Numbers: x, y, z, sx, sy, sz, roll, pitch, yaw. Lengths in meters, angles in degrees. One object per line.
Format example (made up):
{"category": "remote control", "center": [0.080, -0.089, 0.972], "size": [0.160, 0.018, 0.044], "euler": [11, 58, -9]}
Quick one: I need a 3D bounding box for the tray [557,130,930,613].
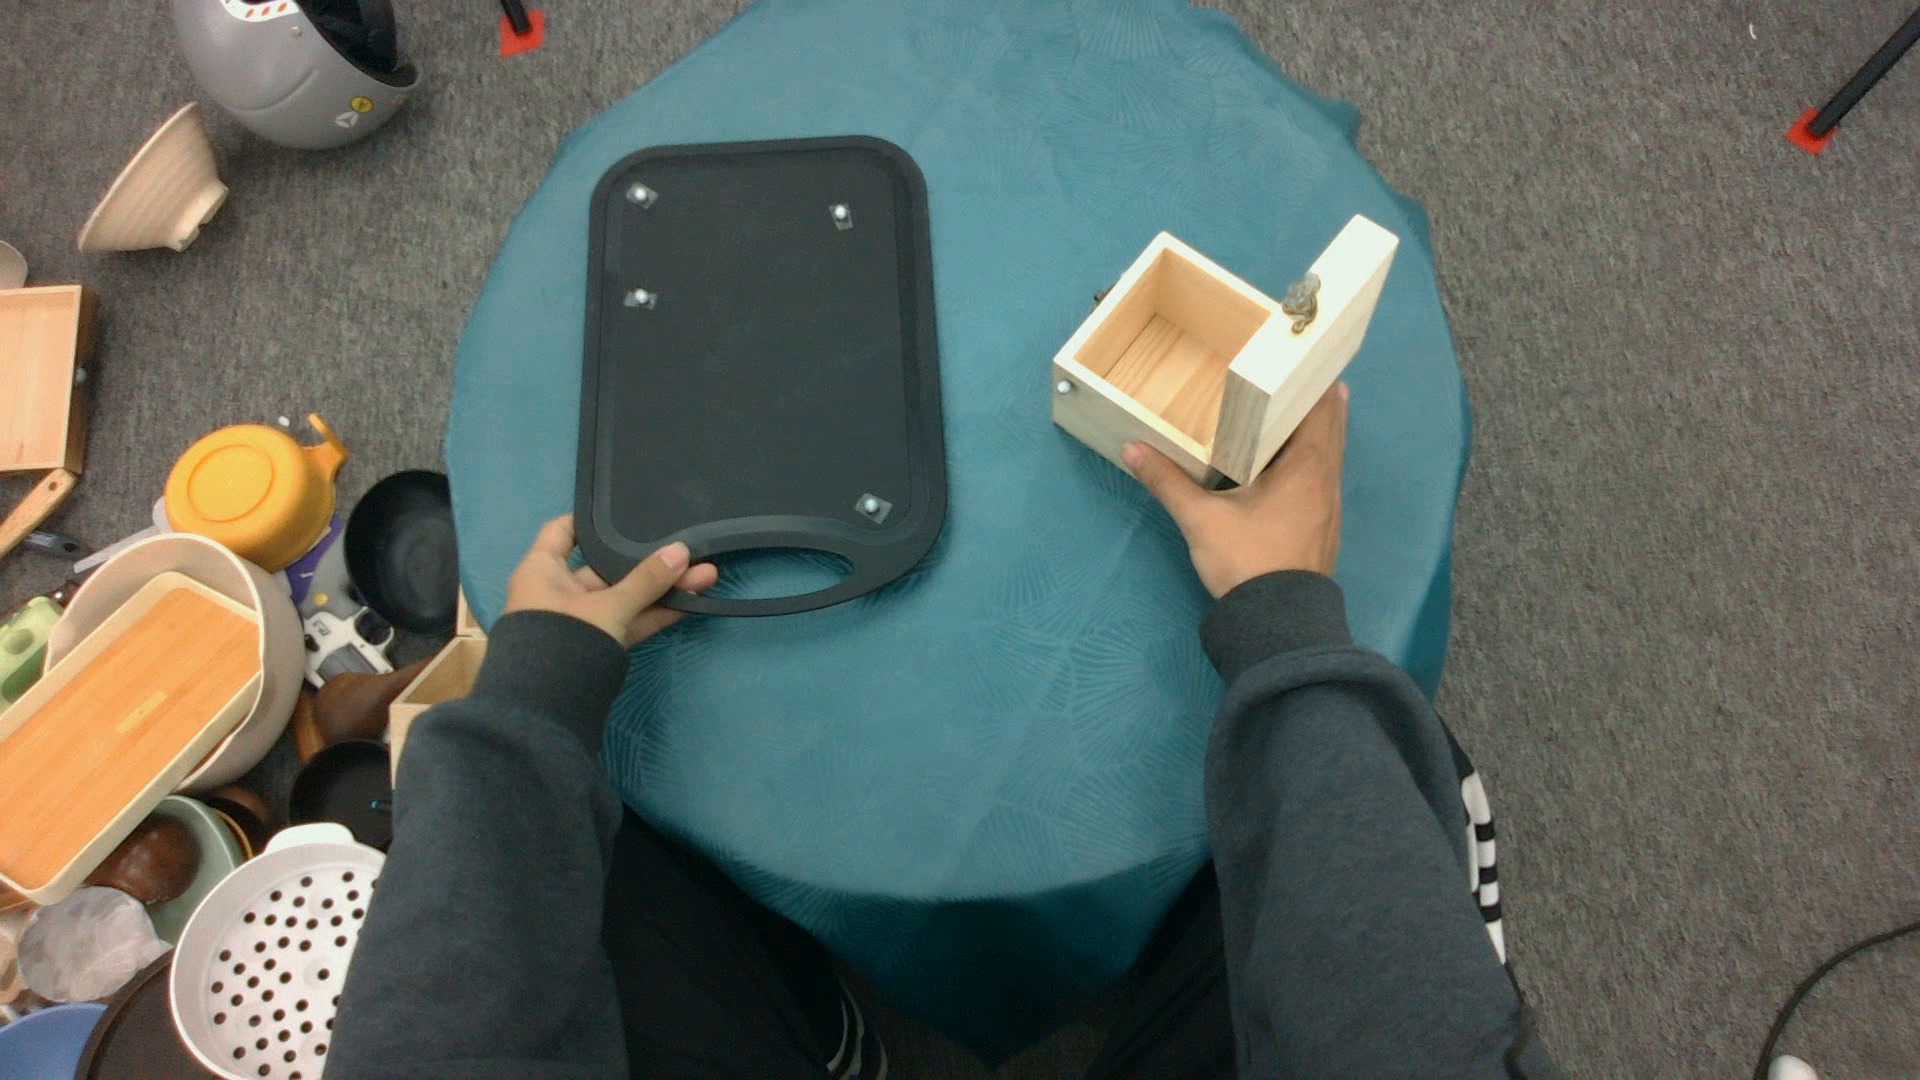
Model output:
{"category": "tray", "center": [-0.127, -0.111, 0.811], "size": [0.211, 0.010, 0.326], "euler": [-4, 66, -1]}

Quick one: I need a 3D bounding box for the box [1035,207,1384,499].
{"category": "box", "center": [0.119, -0.113, 0.720], "size": [0.134, 0.184, 0.103], "euler": [36, 75, 13]}
